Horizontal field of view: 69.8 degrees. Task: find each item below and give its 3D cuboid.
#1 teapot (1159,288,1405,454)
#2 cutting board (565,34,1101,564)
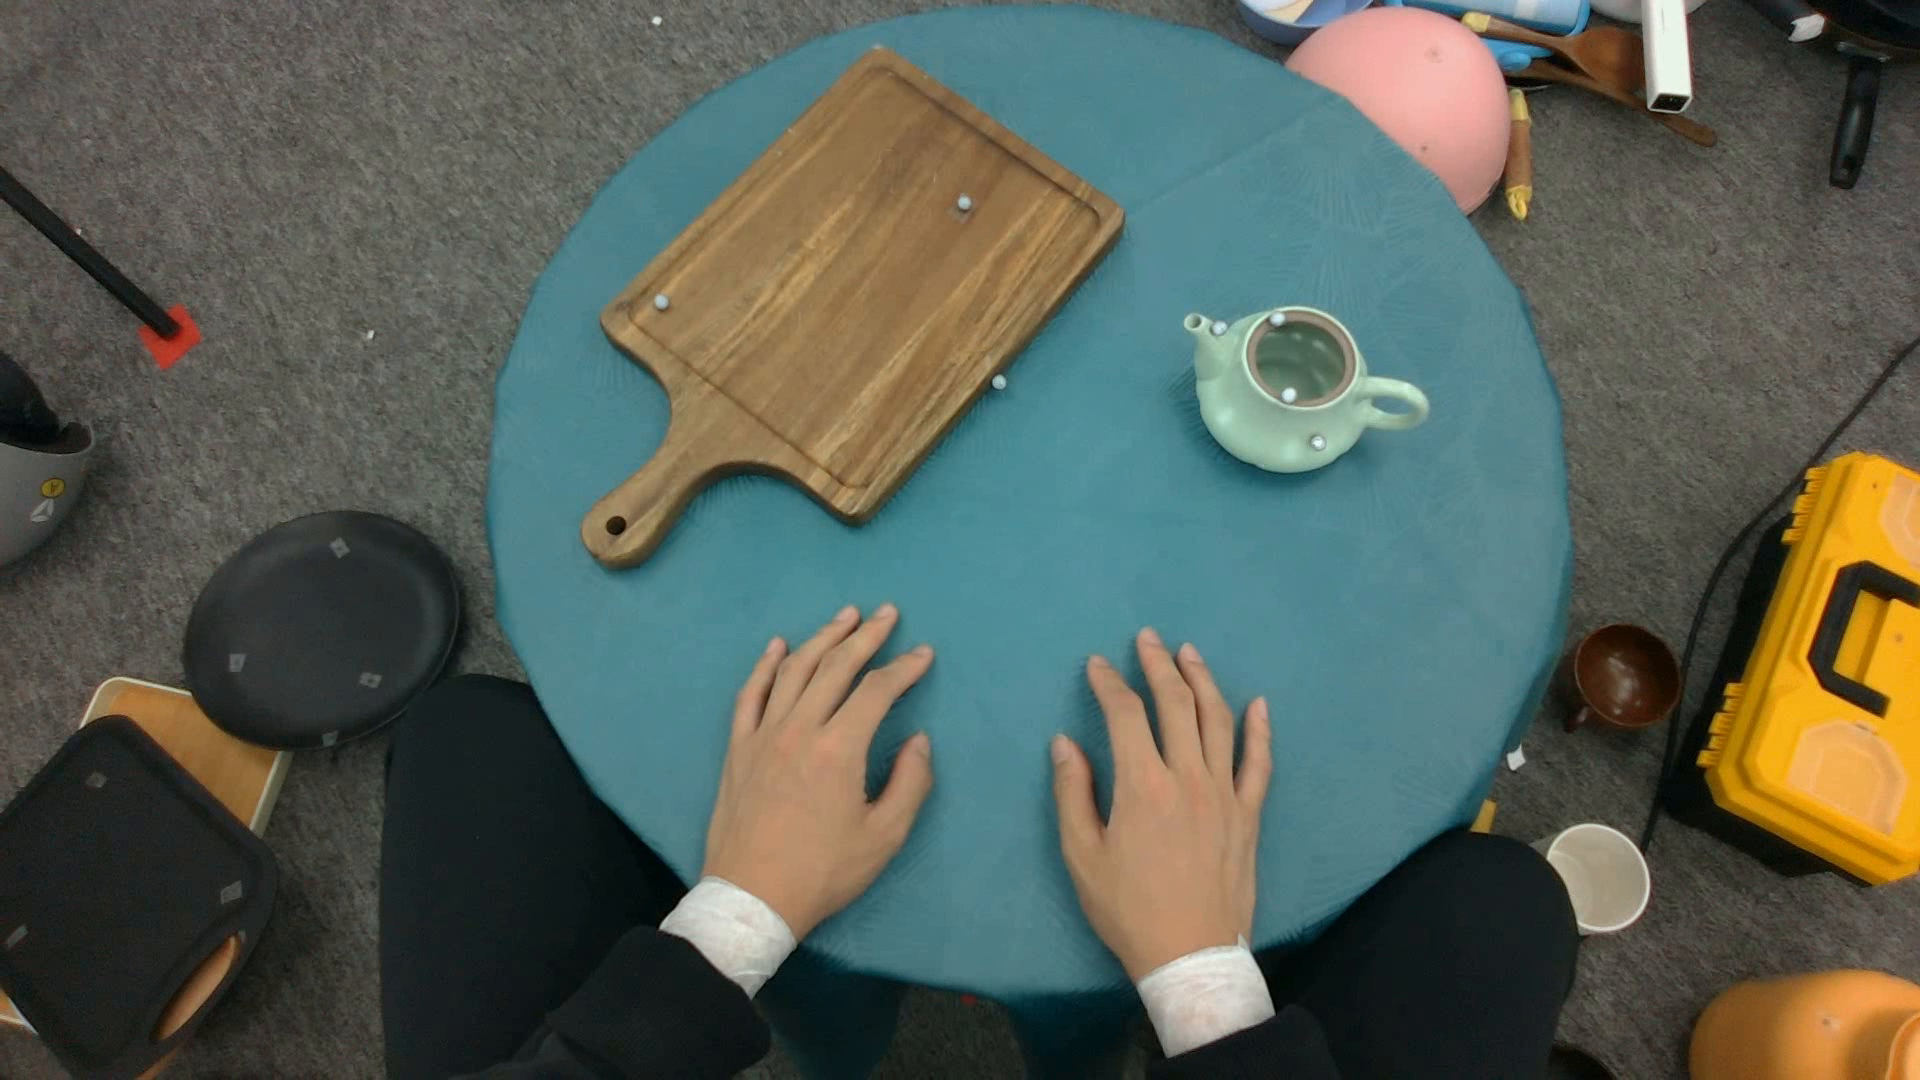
[{"bbox_3d":[0.171,-0.096,0.753,0.137,0.061,0.096,17,69,5],"label":"teapot"},{"bbox_3d":[-0.096,-0.126,0.779,0.201,0.023,0.353,36,73,12],"label":"cutting board"}]
